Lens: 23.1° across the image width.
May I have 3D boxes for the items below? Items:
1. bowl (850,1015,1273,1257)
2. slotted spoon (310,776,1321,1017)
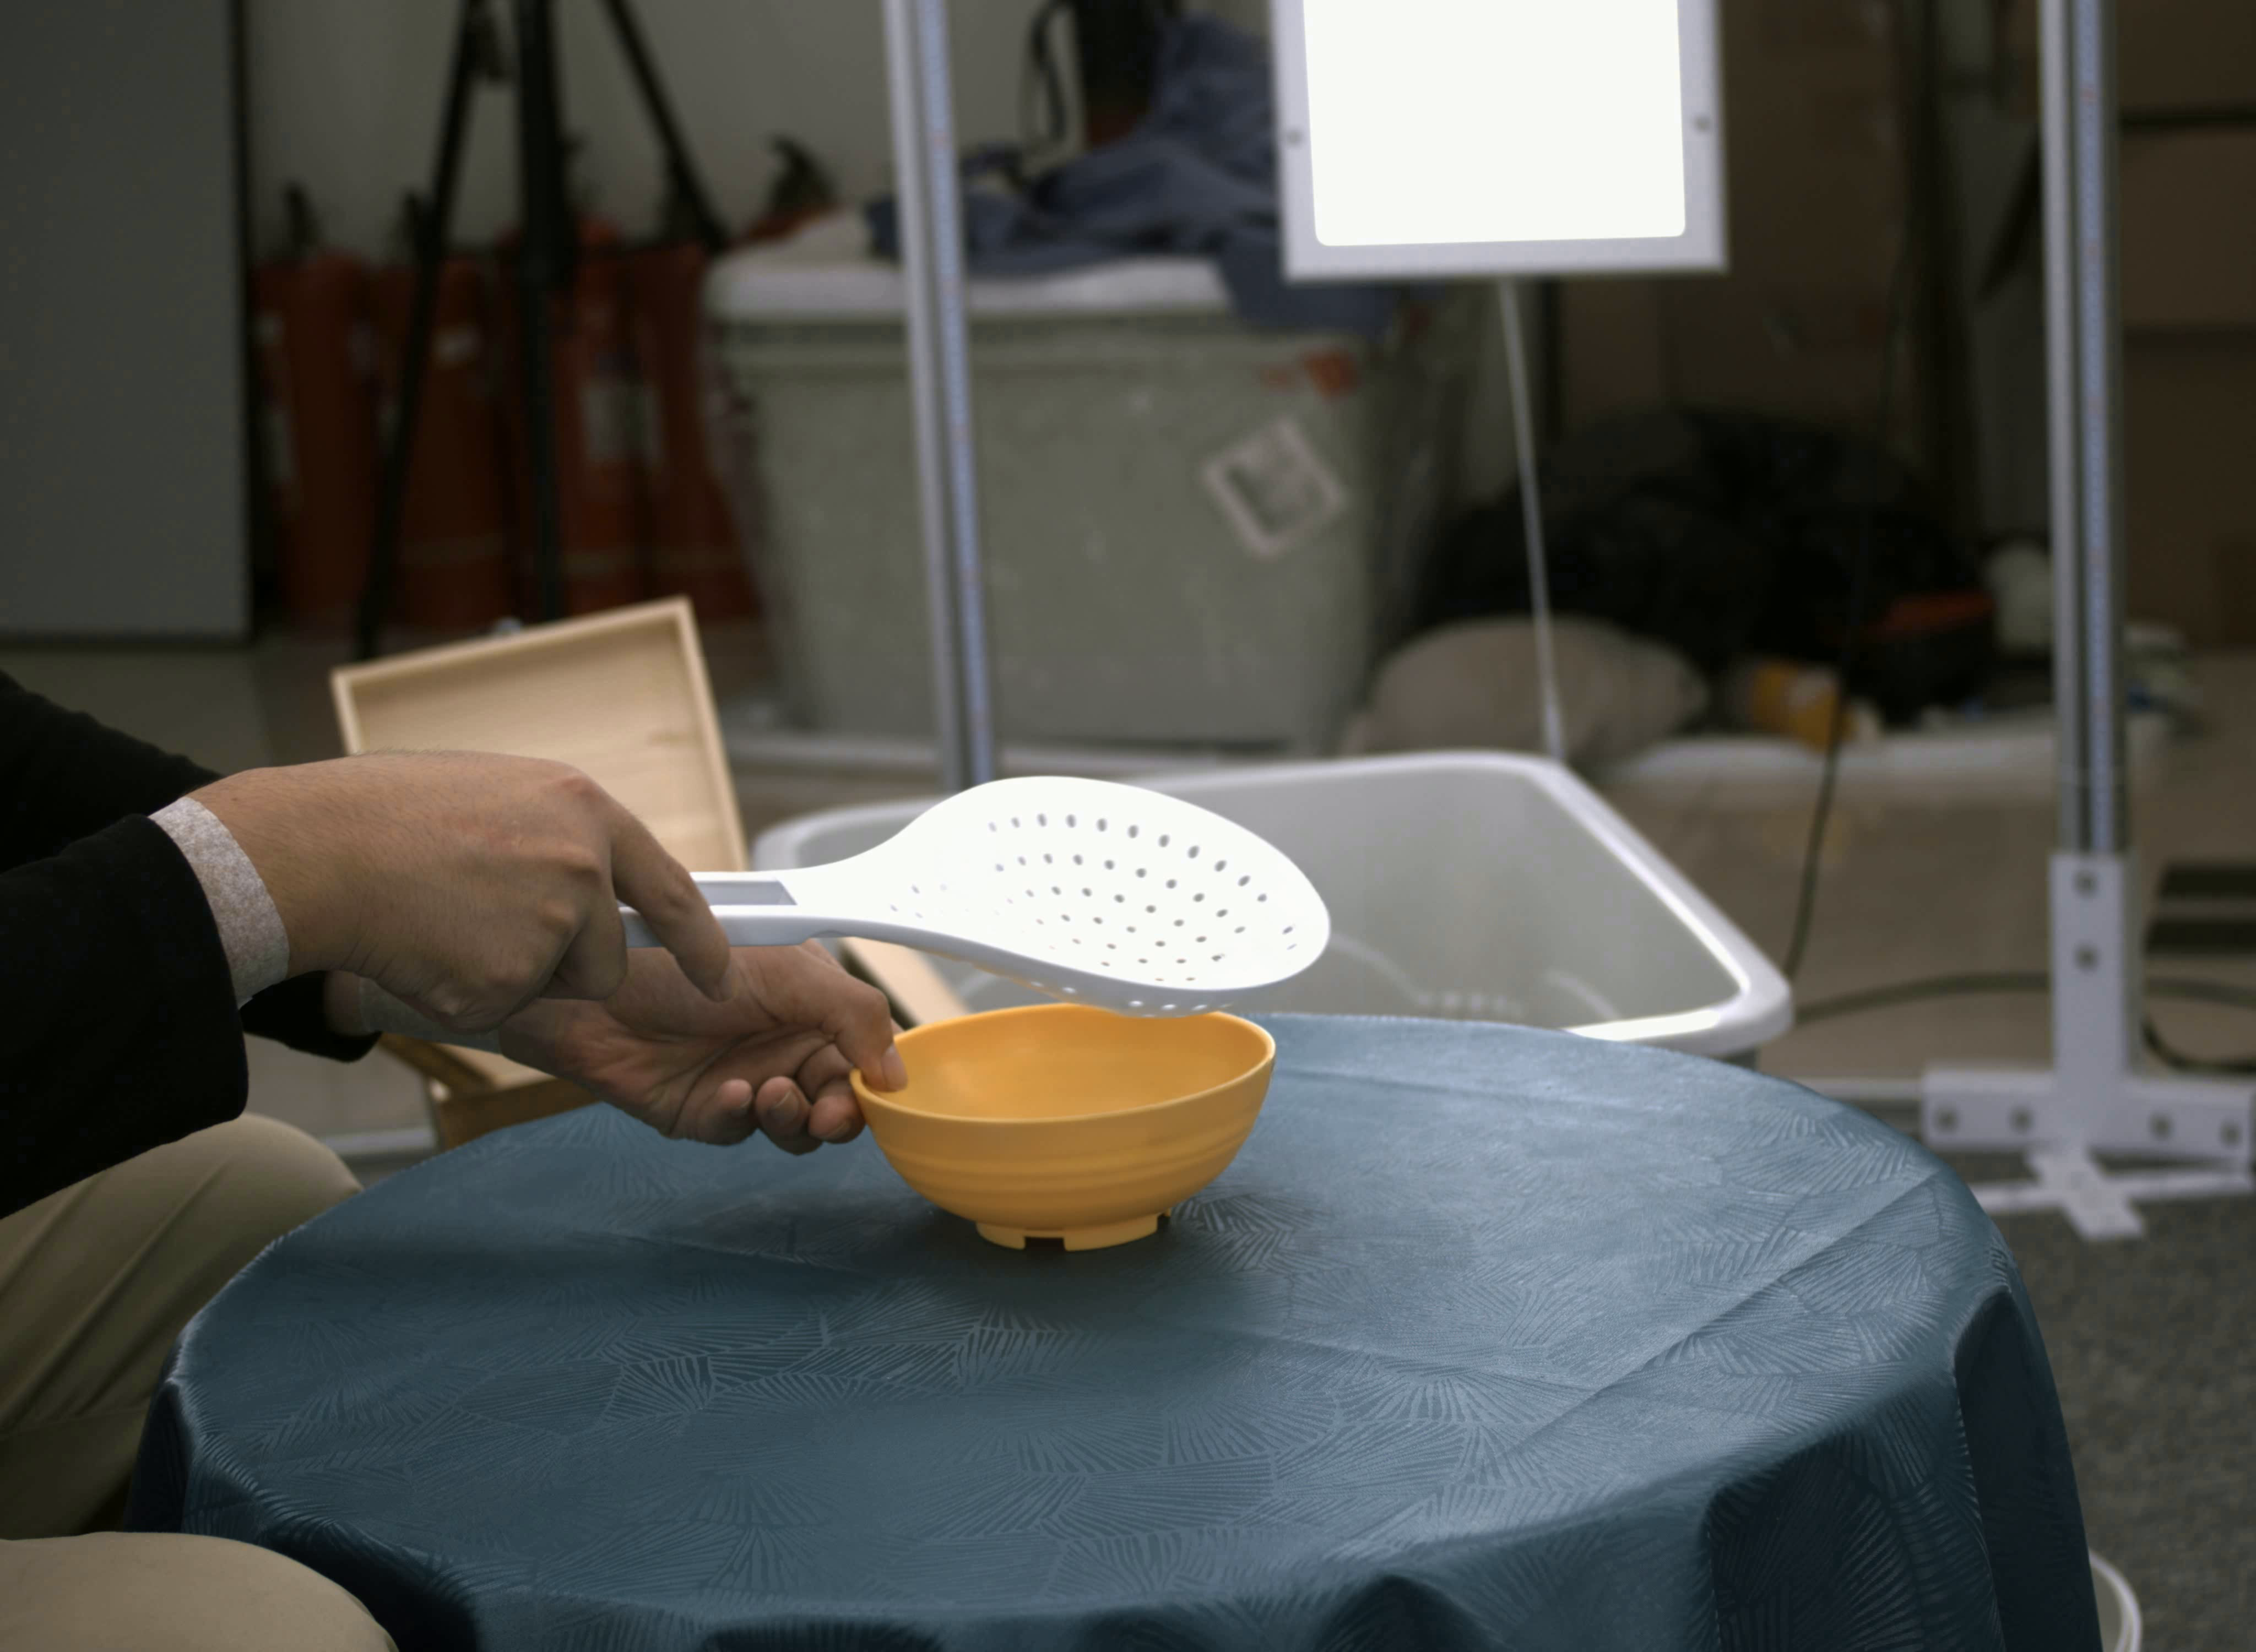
[{"bbox_3d":[-0.021,0.108,1.863,0.145,0.060,0.145,-4,12,0],"label":"bowl"},{"bbox_3d":[-0.096,0.025,1.761,0.341,0.046,0.137,4,28,-31],"label":"slotted spoon"}]
